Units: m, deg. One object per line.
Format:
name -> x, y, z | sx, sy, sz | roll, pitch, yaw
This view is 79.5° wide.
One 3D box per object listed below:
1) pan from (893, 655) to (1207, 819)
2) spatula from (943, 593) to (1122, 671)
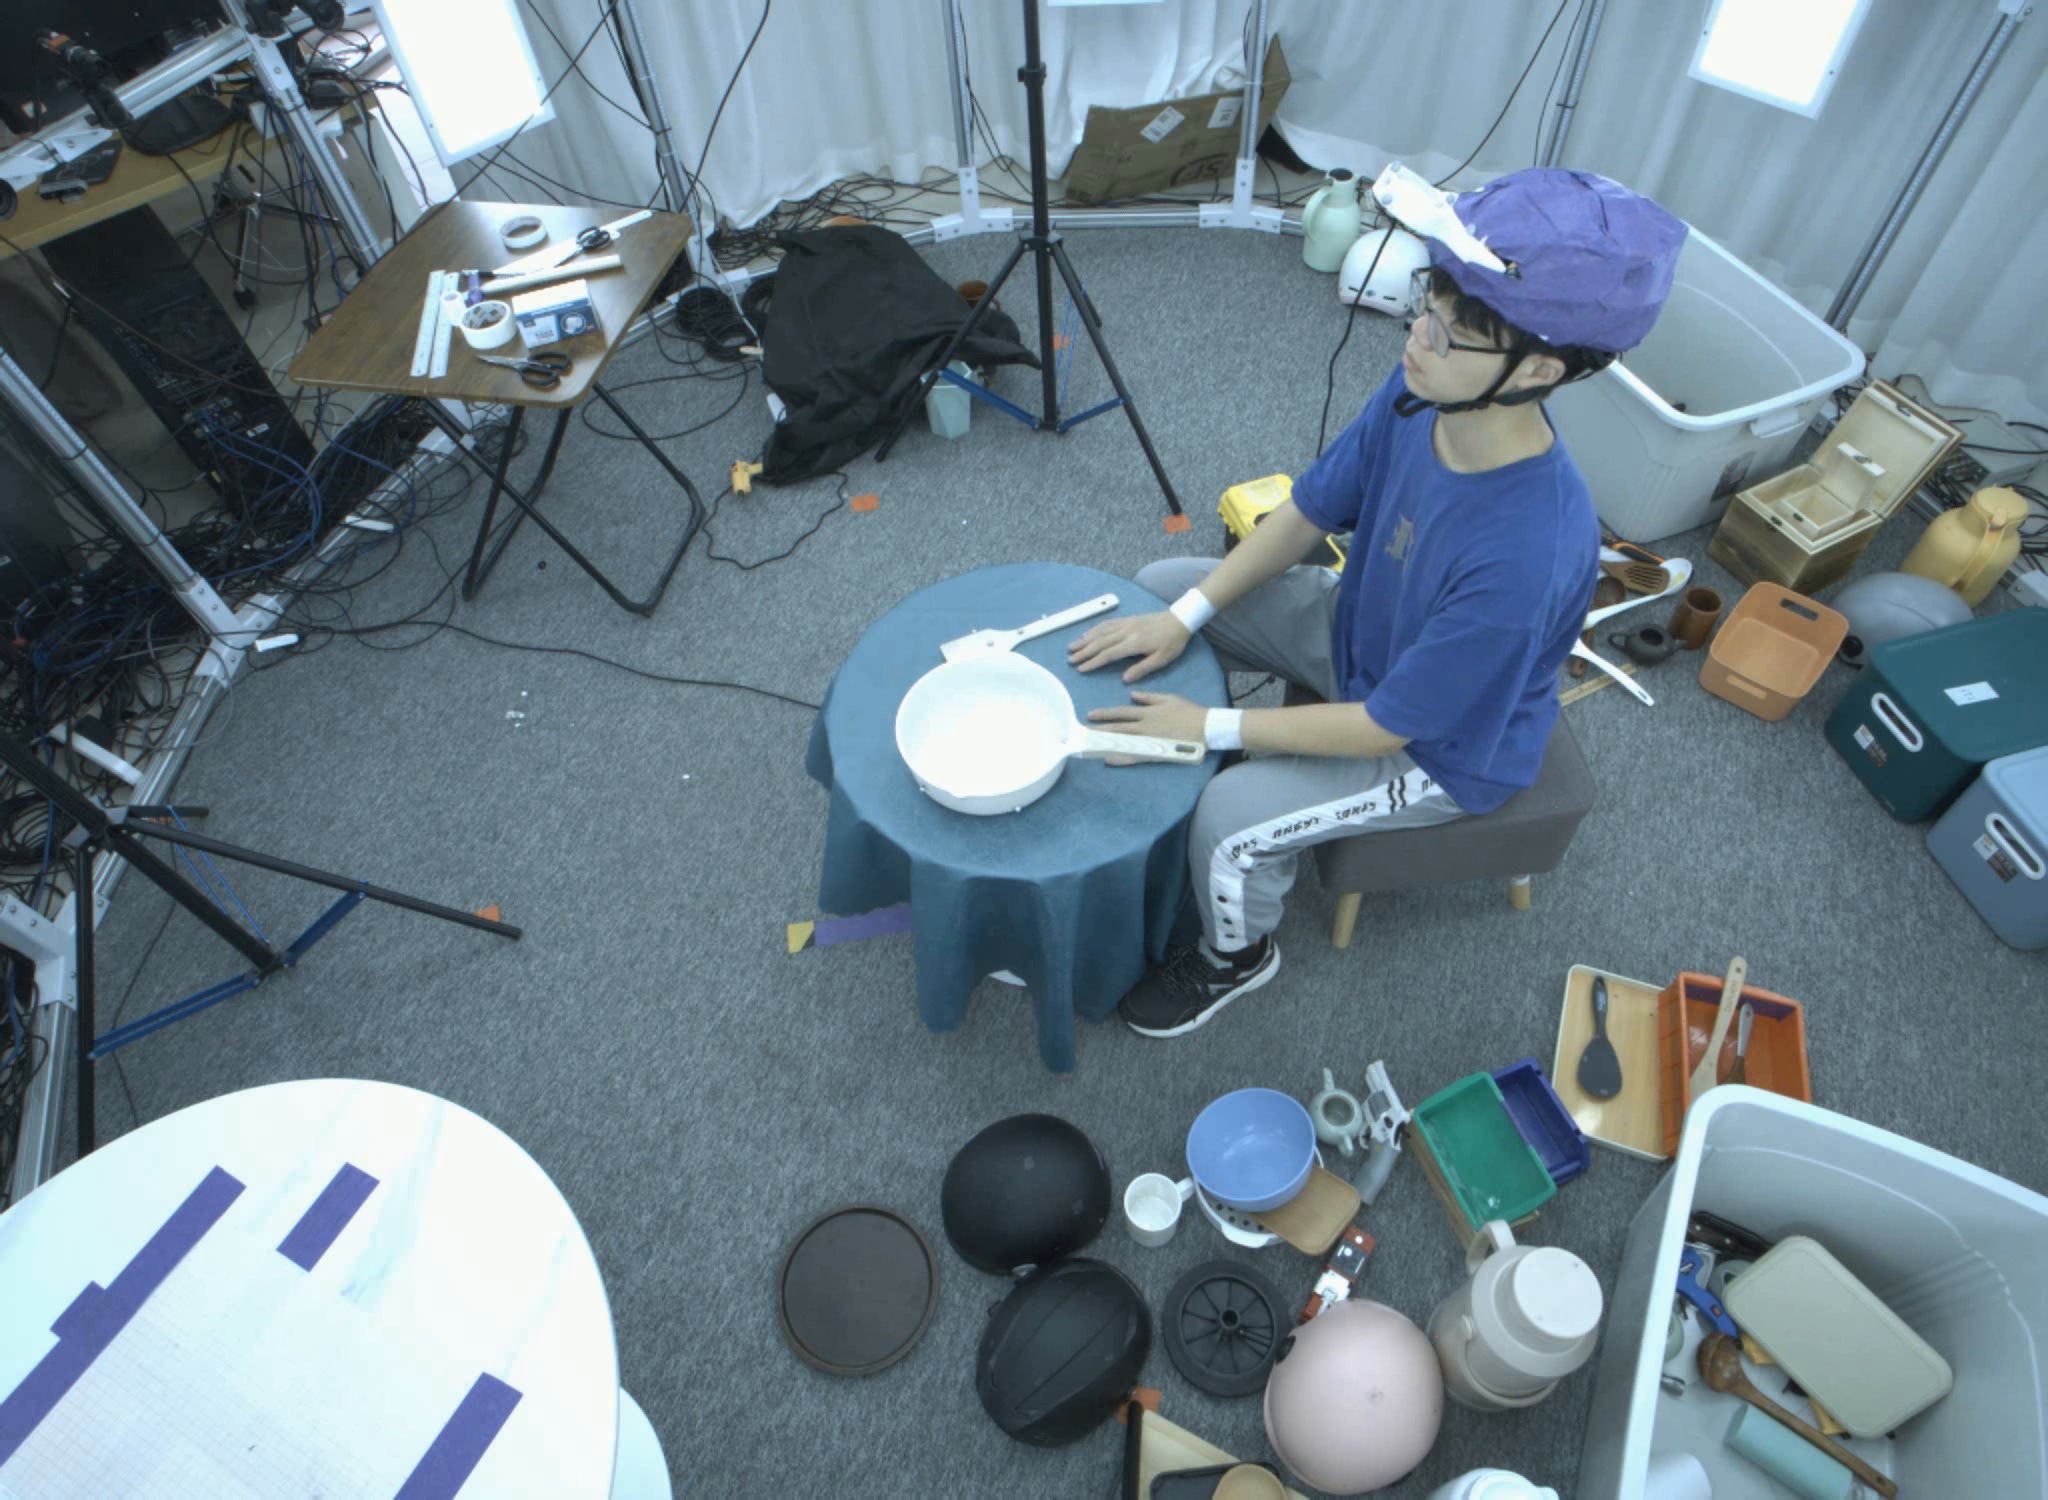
pan -> 0.035, -0.001, 1.716 | 0.432, 0.103, 0.262 | 9, 54, 9
spatula -> 0.018, -0.188, 1.906 | 0.295, 0.011, 0.071 | -22, 55, -13
